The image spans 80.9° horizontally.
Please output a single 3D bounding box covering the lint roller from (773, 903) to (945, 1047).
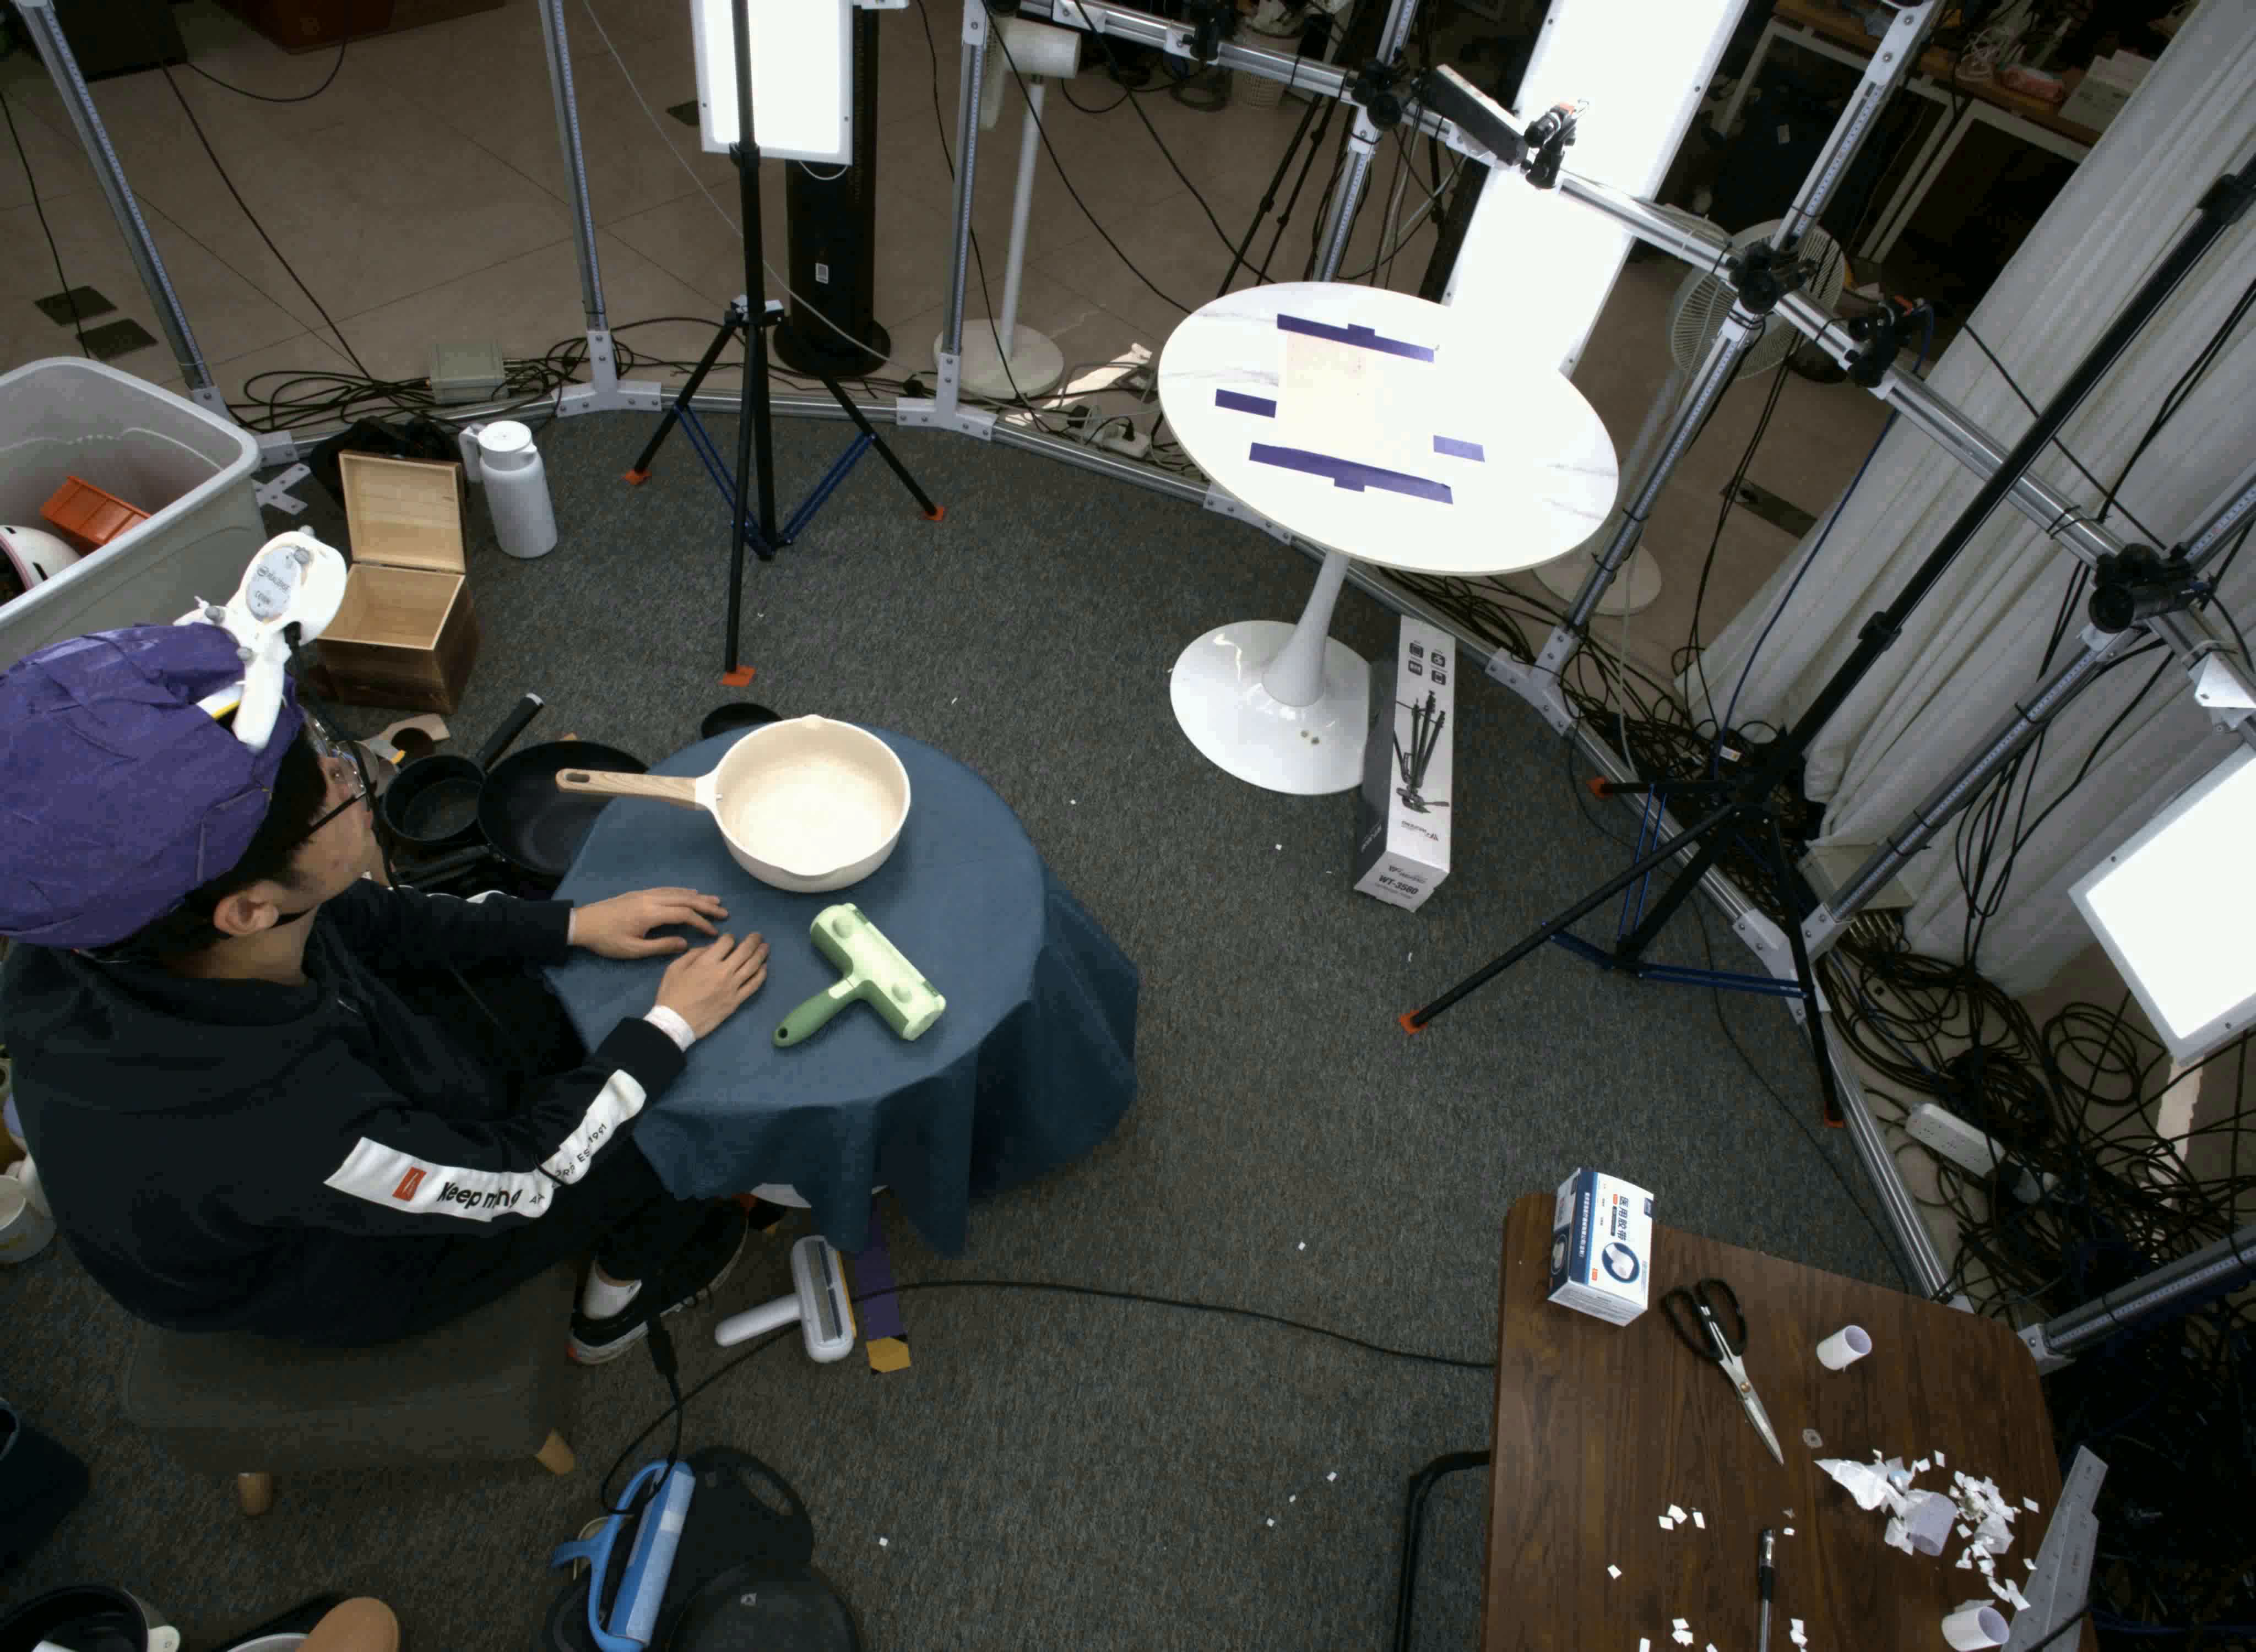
[{"bbox_3d":[-0.348,0.194,1.557,0.194,0.083,0.184,43,50,18],"label":"lint roller"}]

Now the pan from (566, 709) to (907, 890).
[{"bbox_3d":[-0.504,-0.031,1.668,0.436,0.104,0.258,0,56,-15],"label":"pan"}]
